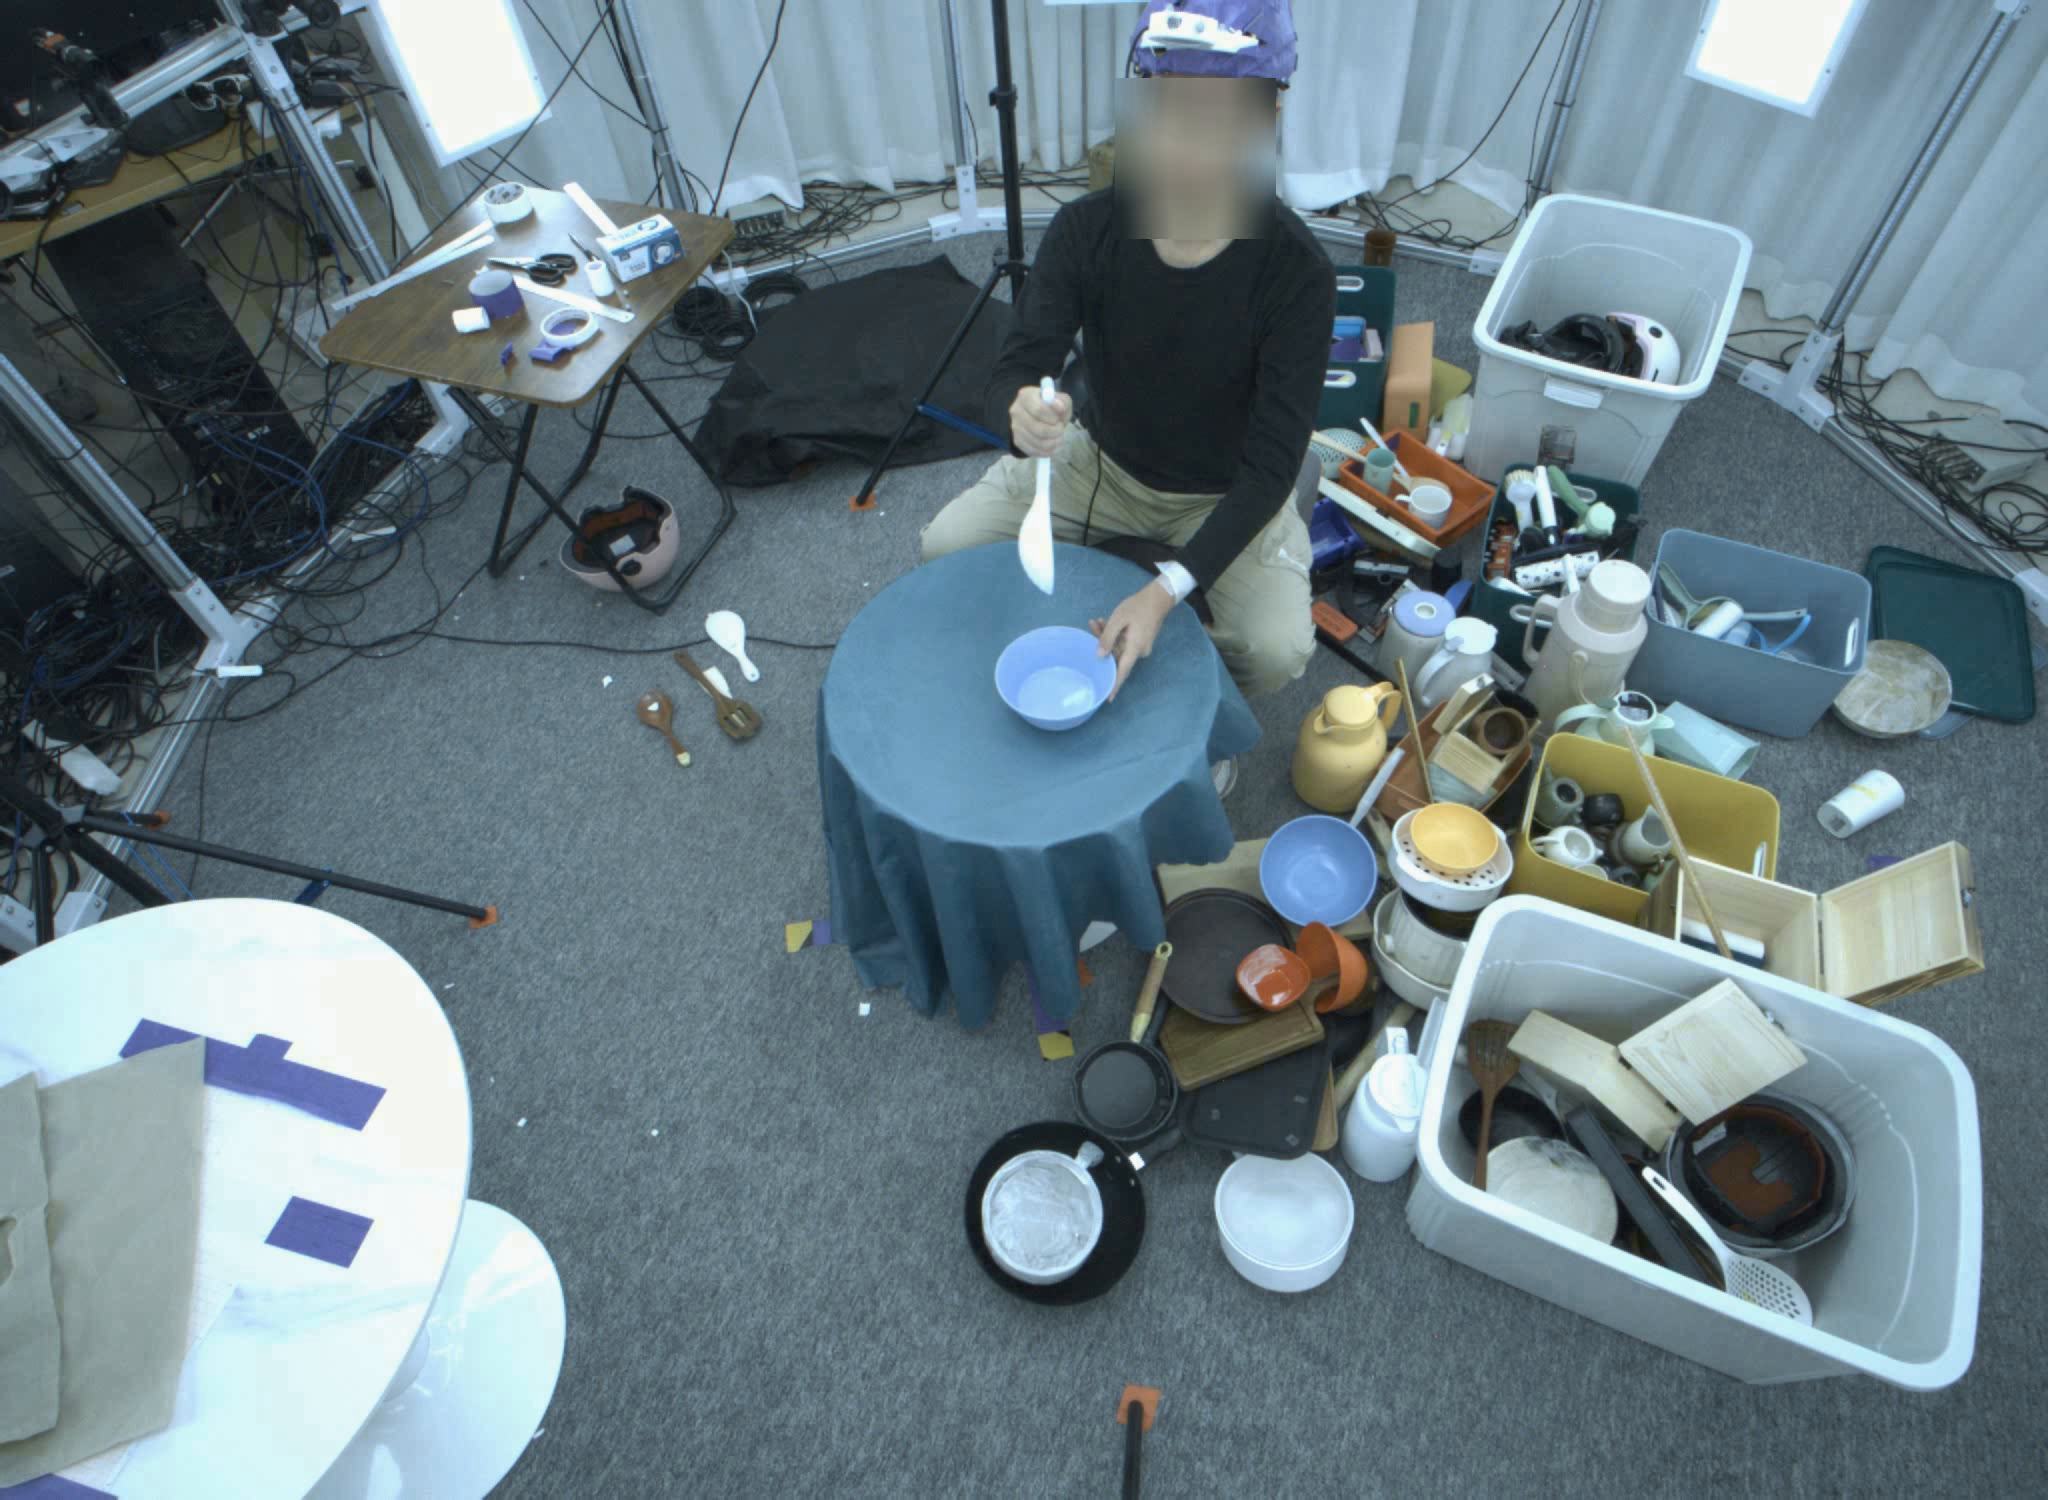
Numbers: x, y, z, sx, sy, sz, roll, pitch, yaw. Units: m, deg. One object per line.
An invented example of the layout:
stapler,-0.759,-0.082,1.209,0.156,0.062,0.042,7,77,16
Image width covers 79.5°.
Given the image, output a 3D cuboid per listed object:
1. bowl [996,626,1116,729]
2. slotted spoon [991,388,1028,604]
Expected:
bowl,0.048,-0.096,1.811,0.176,0.071,0.174,0,54,2
slotted spoon,-0.012,-0.348,1.668,0.046,0.352,0.134,4,50,-5
